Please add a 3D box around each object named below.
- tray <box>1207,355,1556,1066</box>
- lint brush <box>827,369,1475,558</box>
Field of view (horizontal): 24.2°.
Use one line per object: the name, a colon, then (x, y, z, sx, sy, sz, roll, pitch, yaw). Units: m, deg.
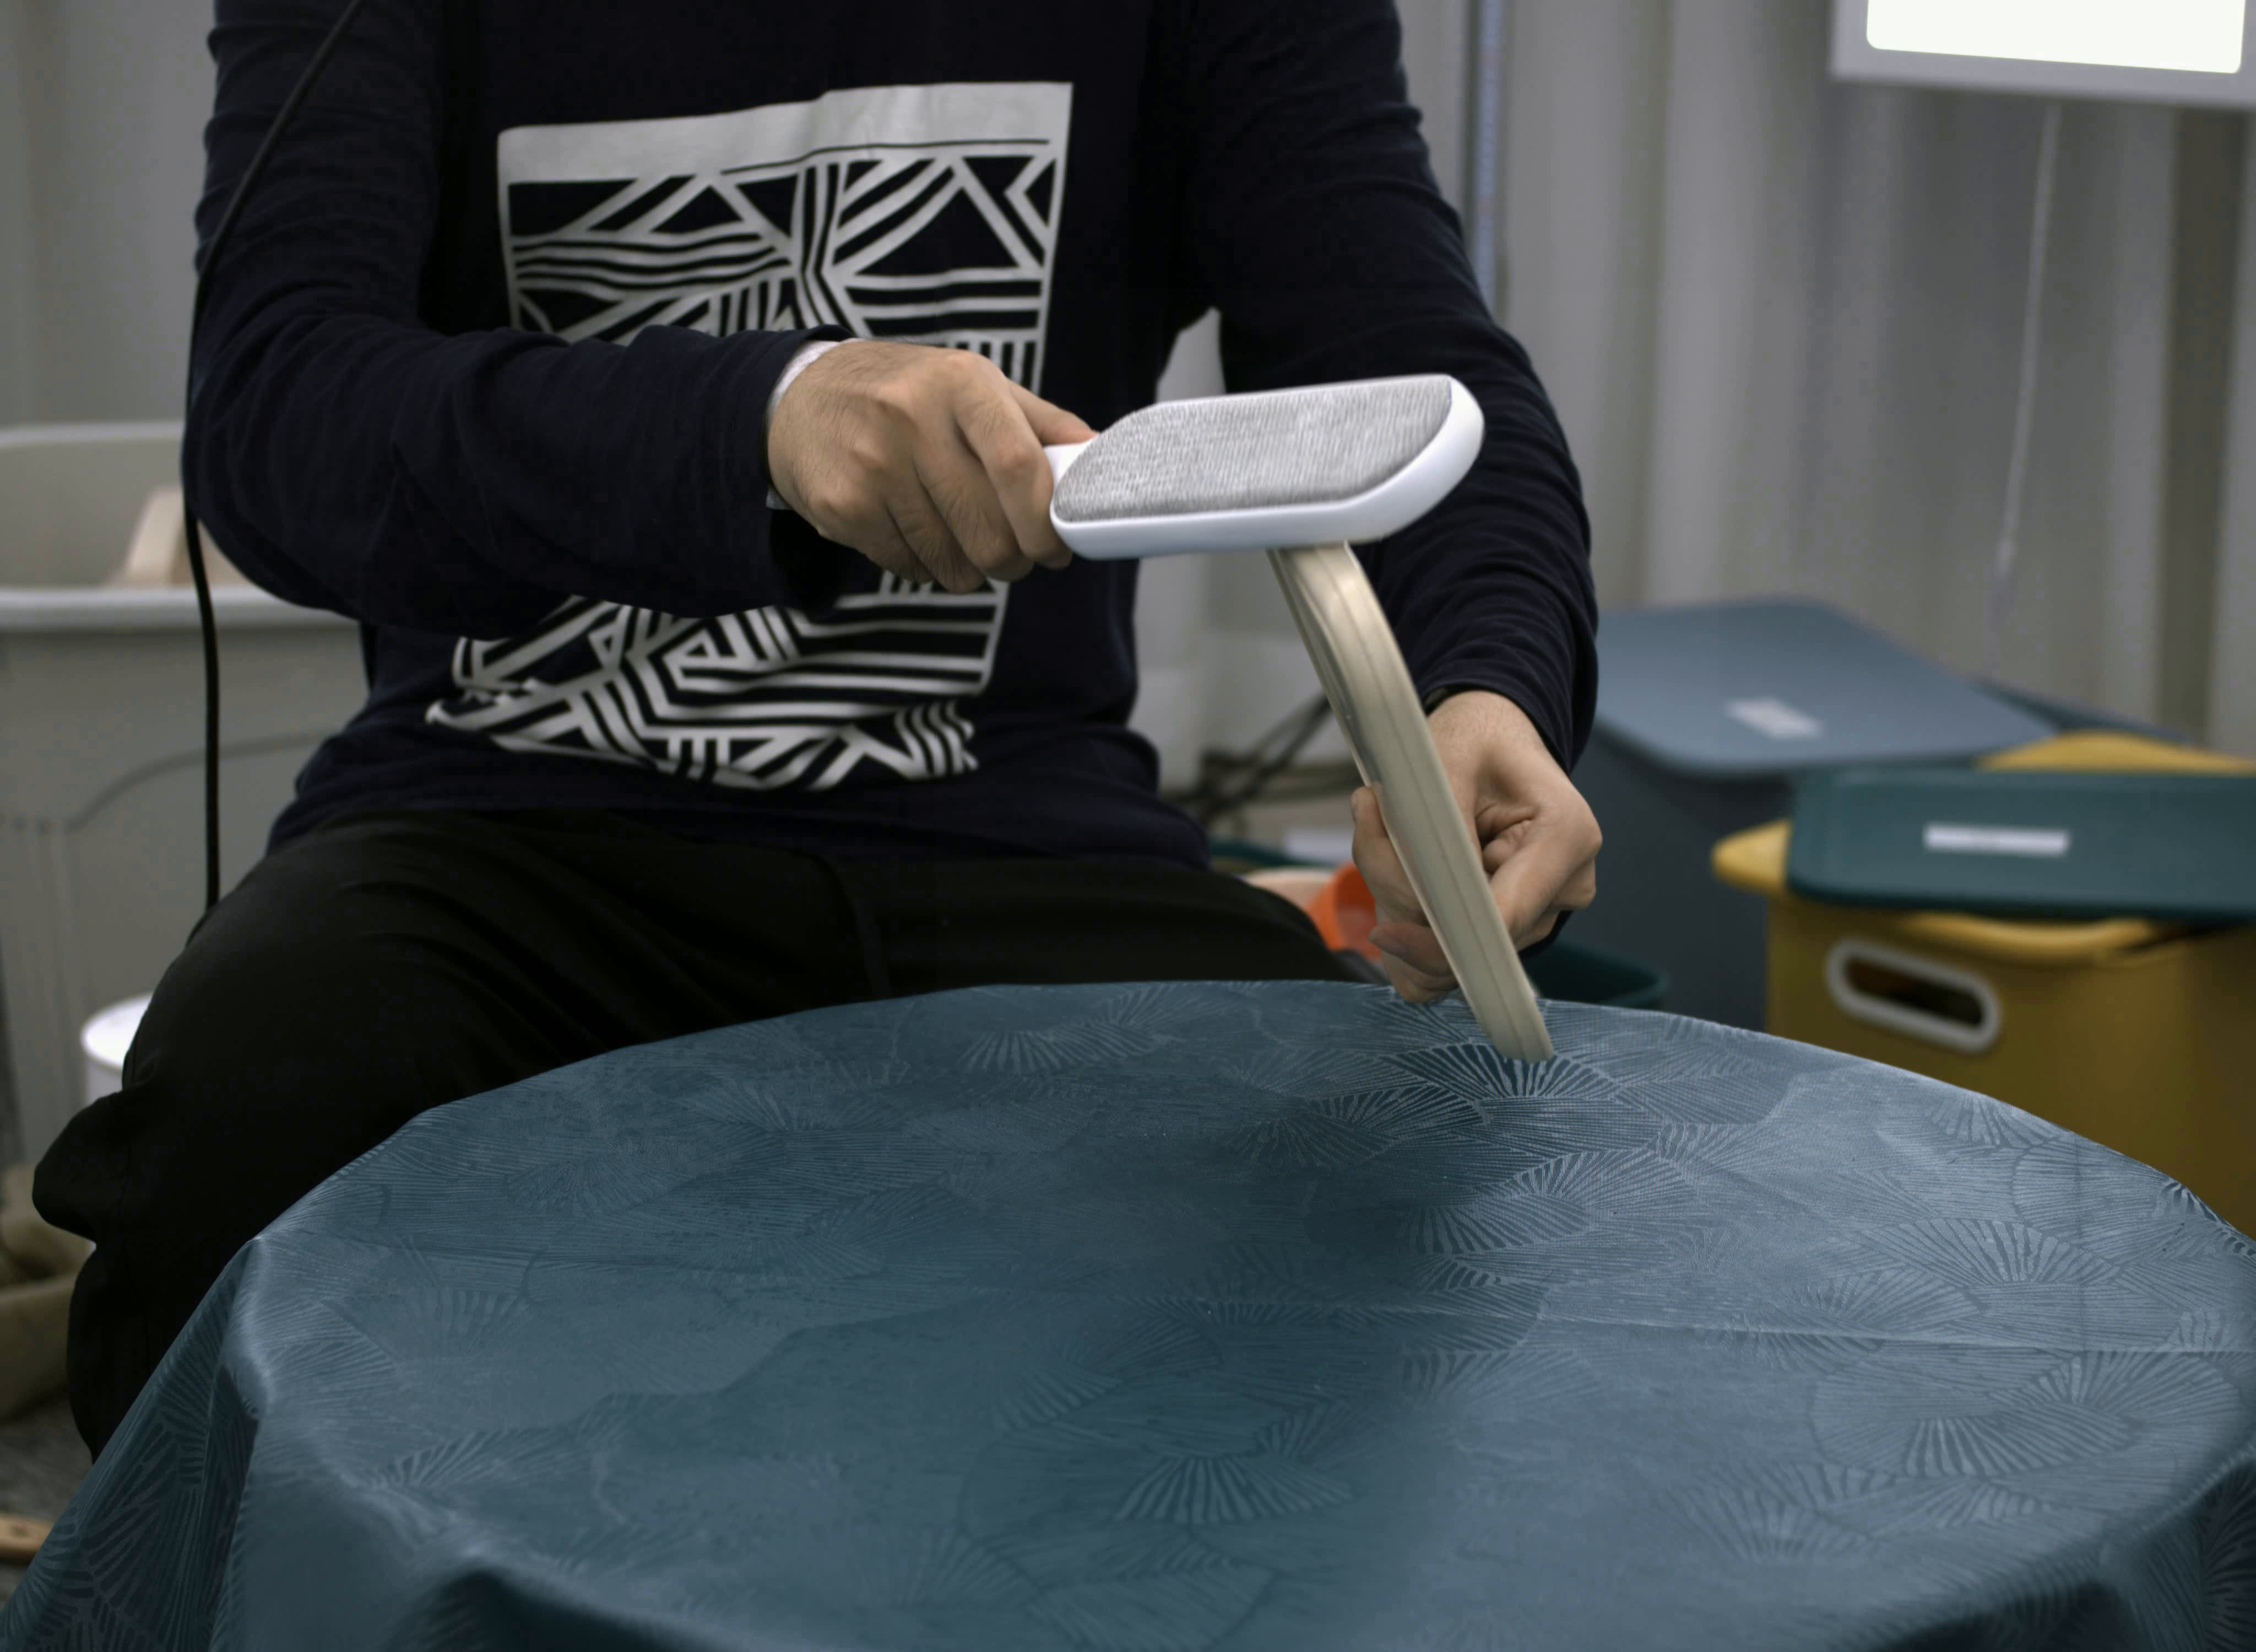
tray: (0.073, -0.037, 1.606, 0.017, 0.173, 0.237, -24, 27, 2)
lint brush: (-0.001, -0.107, 1.595, 0.305, 0.021, 0.060, 1, 53, 53)
